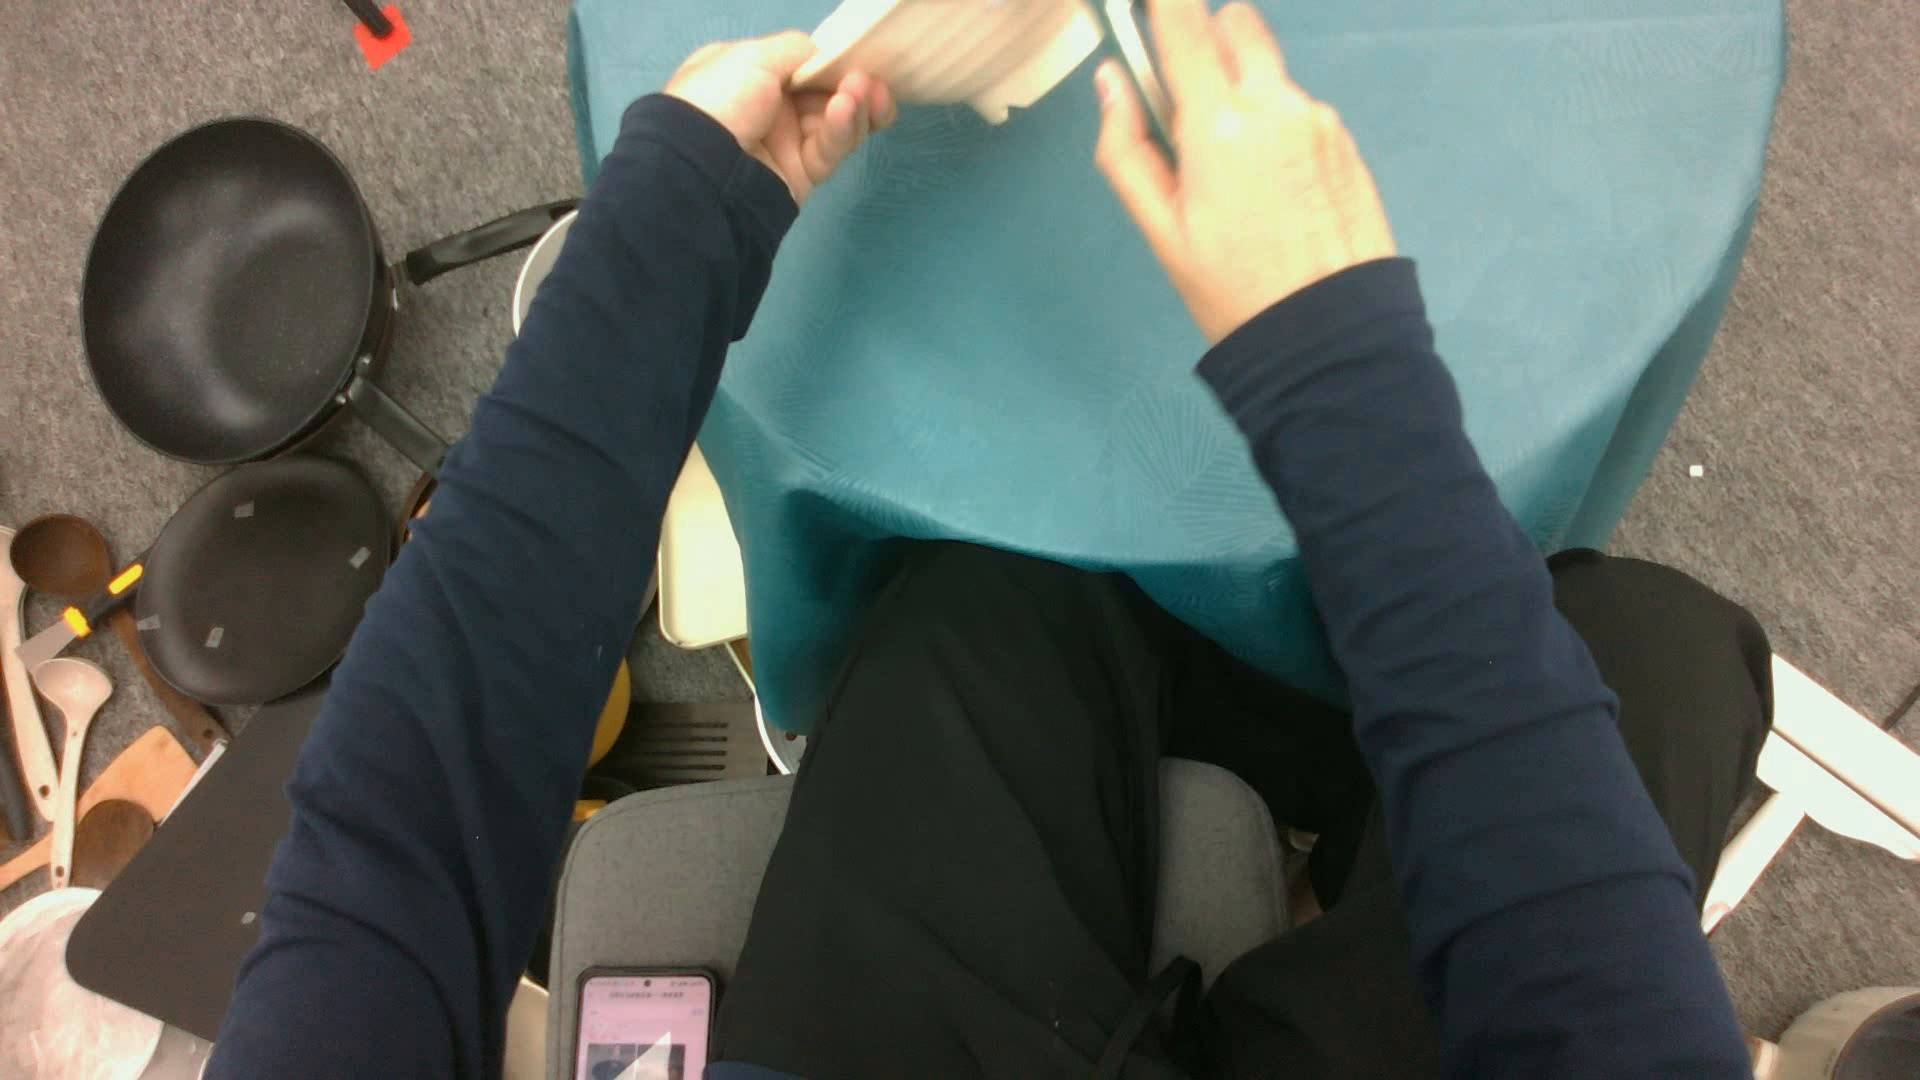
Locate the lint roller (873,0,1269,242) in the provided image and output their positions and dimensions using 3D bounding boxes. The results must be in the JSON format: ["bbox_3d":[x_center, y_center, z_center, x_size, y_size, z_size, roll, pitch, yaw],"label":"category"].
[{"bbox_3d":[0.056,-0.181,0.479,0.134,0.048,0.180,-38,96,-3],"label":"lint roller"}]

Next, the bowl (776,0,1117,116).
[{"bbox_3d":[0.017,-0.246,0.604,0.078,0.204,0.204,43,81,-22],"label":"bowl"}]
